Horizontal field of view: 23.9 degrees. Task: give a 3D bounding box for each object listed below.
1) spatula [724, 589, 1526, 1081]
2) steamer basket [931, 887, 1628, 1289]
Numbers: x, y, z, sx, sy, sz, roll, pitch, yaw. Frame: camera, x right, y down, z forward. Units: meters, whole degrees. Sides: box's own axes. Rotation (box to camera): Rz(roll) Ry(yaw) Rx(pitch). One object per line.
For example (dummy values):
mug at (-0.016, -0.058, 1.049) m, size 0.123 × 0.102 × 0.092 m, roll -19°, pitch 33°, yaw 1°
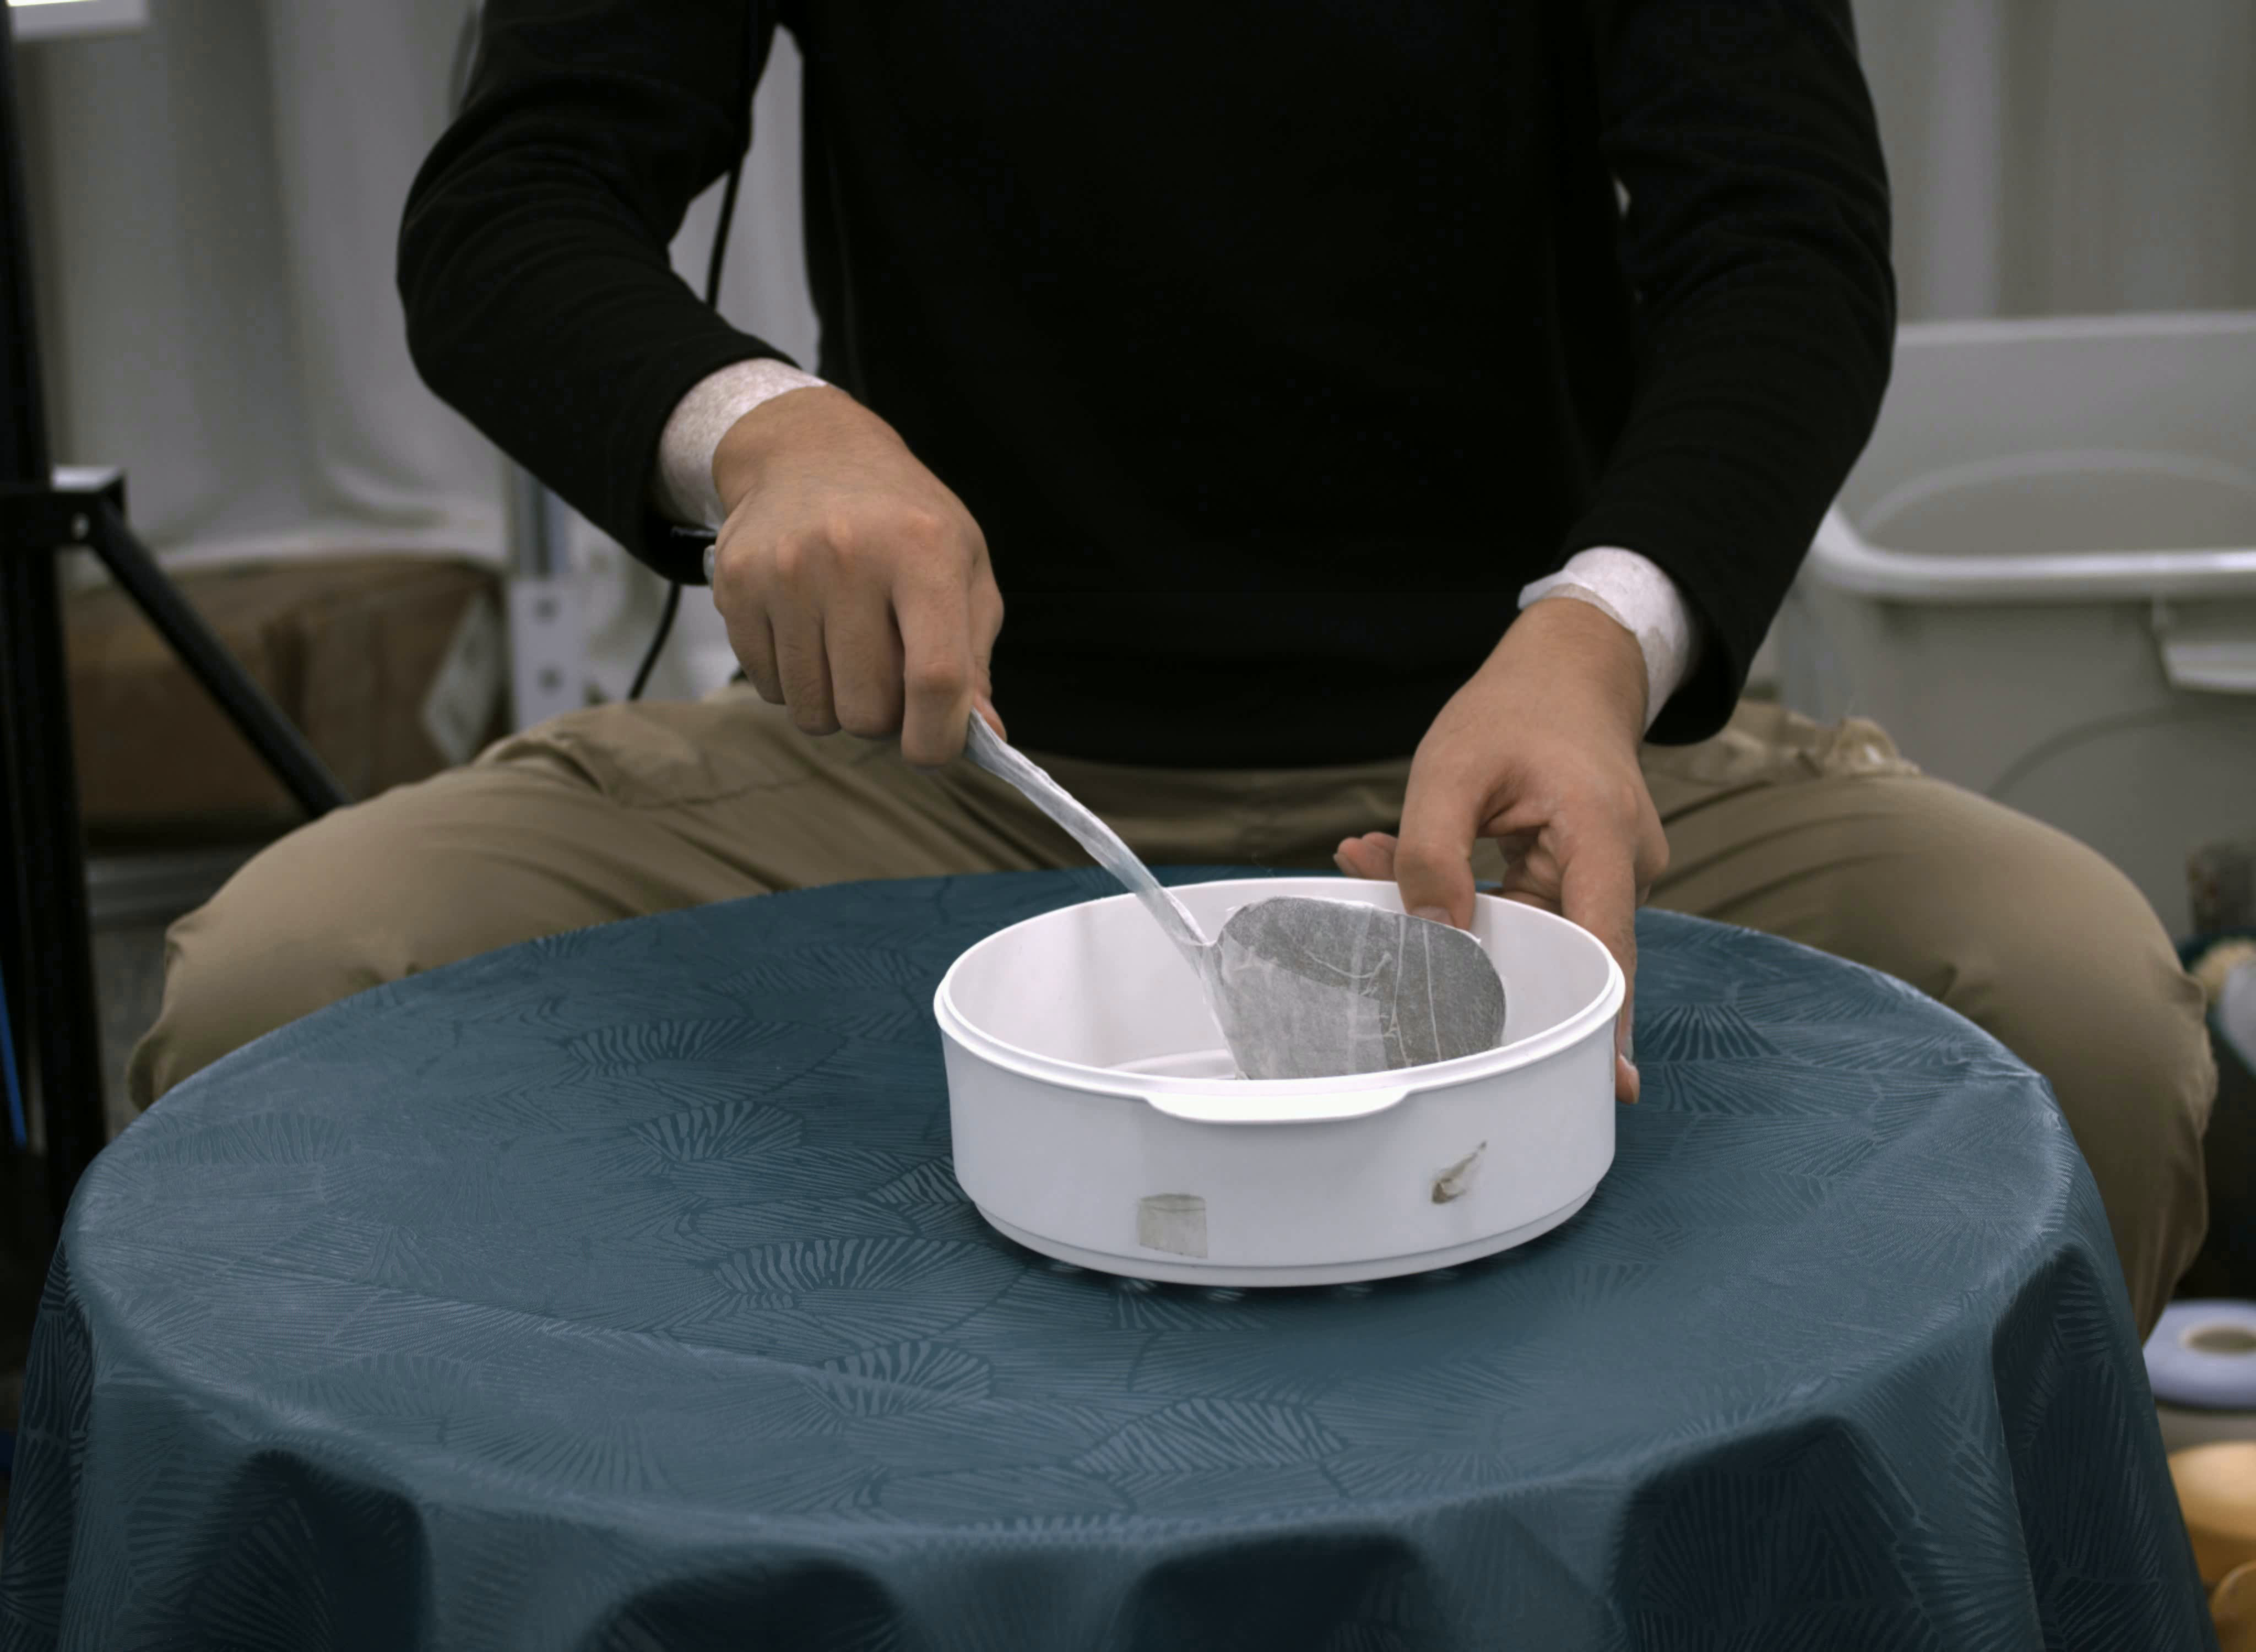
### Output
spatula at (-0.010, 0.000, 1.599) m, size 0.044 × 0.098 × 0.373 m, roll -25°, pitch 40°, yaw -24°
steamer basket at (0.044, 0.075, 1.538) m, size 0.201 × 0.069 × 0.231 m, roll 0°, pitch 15°, yaw 4°
